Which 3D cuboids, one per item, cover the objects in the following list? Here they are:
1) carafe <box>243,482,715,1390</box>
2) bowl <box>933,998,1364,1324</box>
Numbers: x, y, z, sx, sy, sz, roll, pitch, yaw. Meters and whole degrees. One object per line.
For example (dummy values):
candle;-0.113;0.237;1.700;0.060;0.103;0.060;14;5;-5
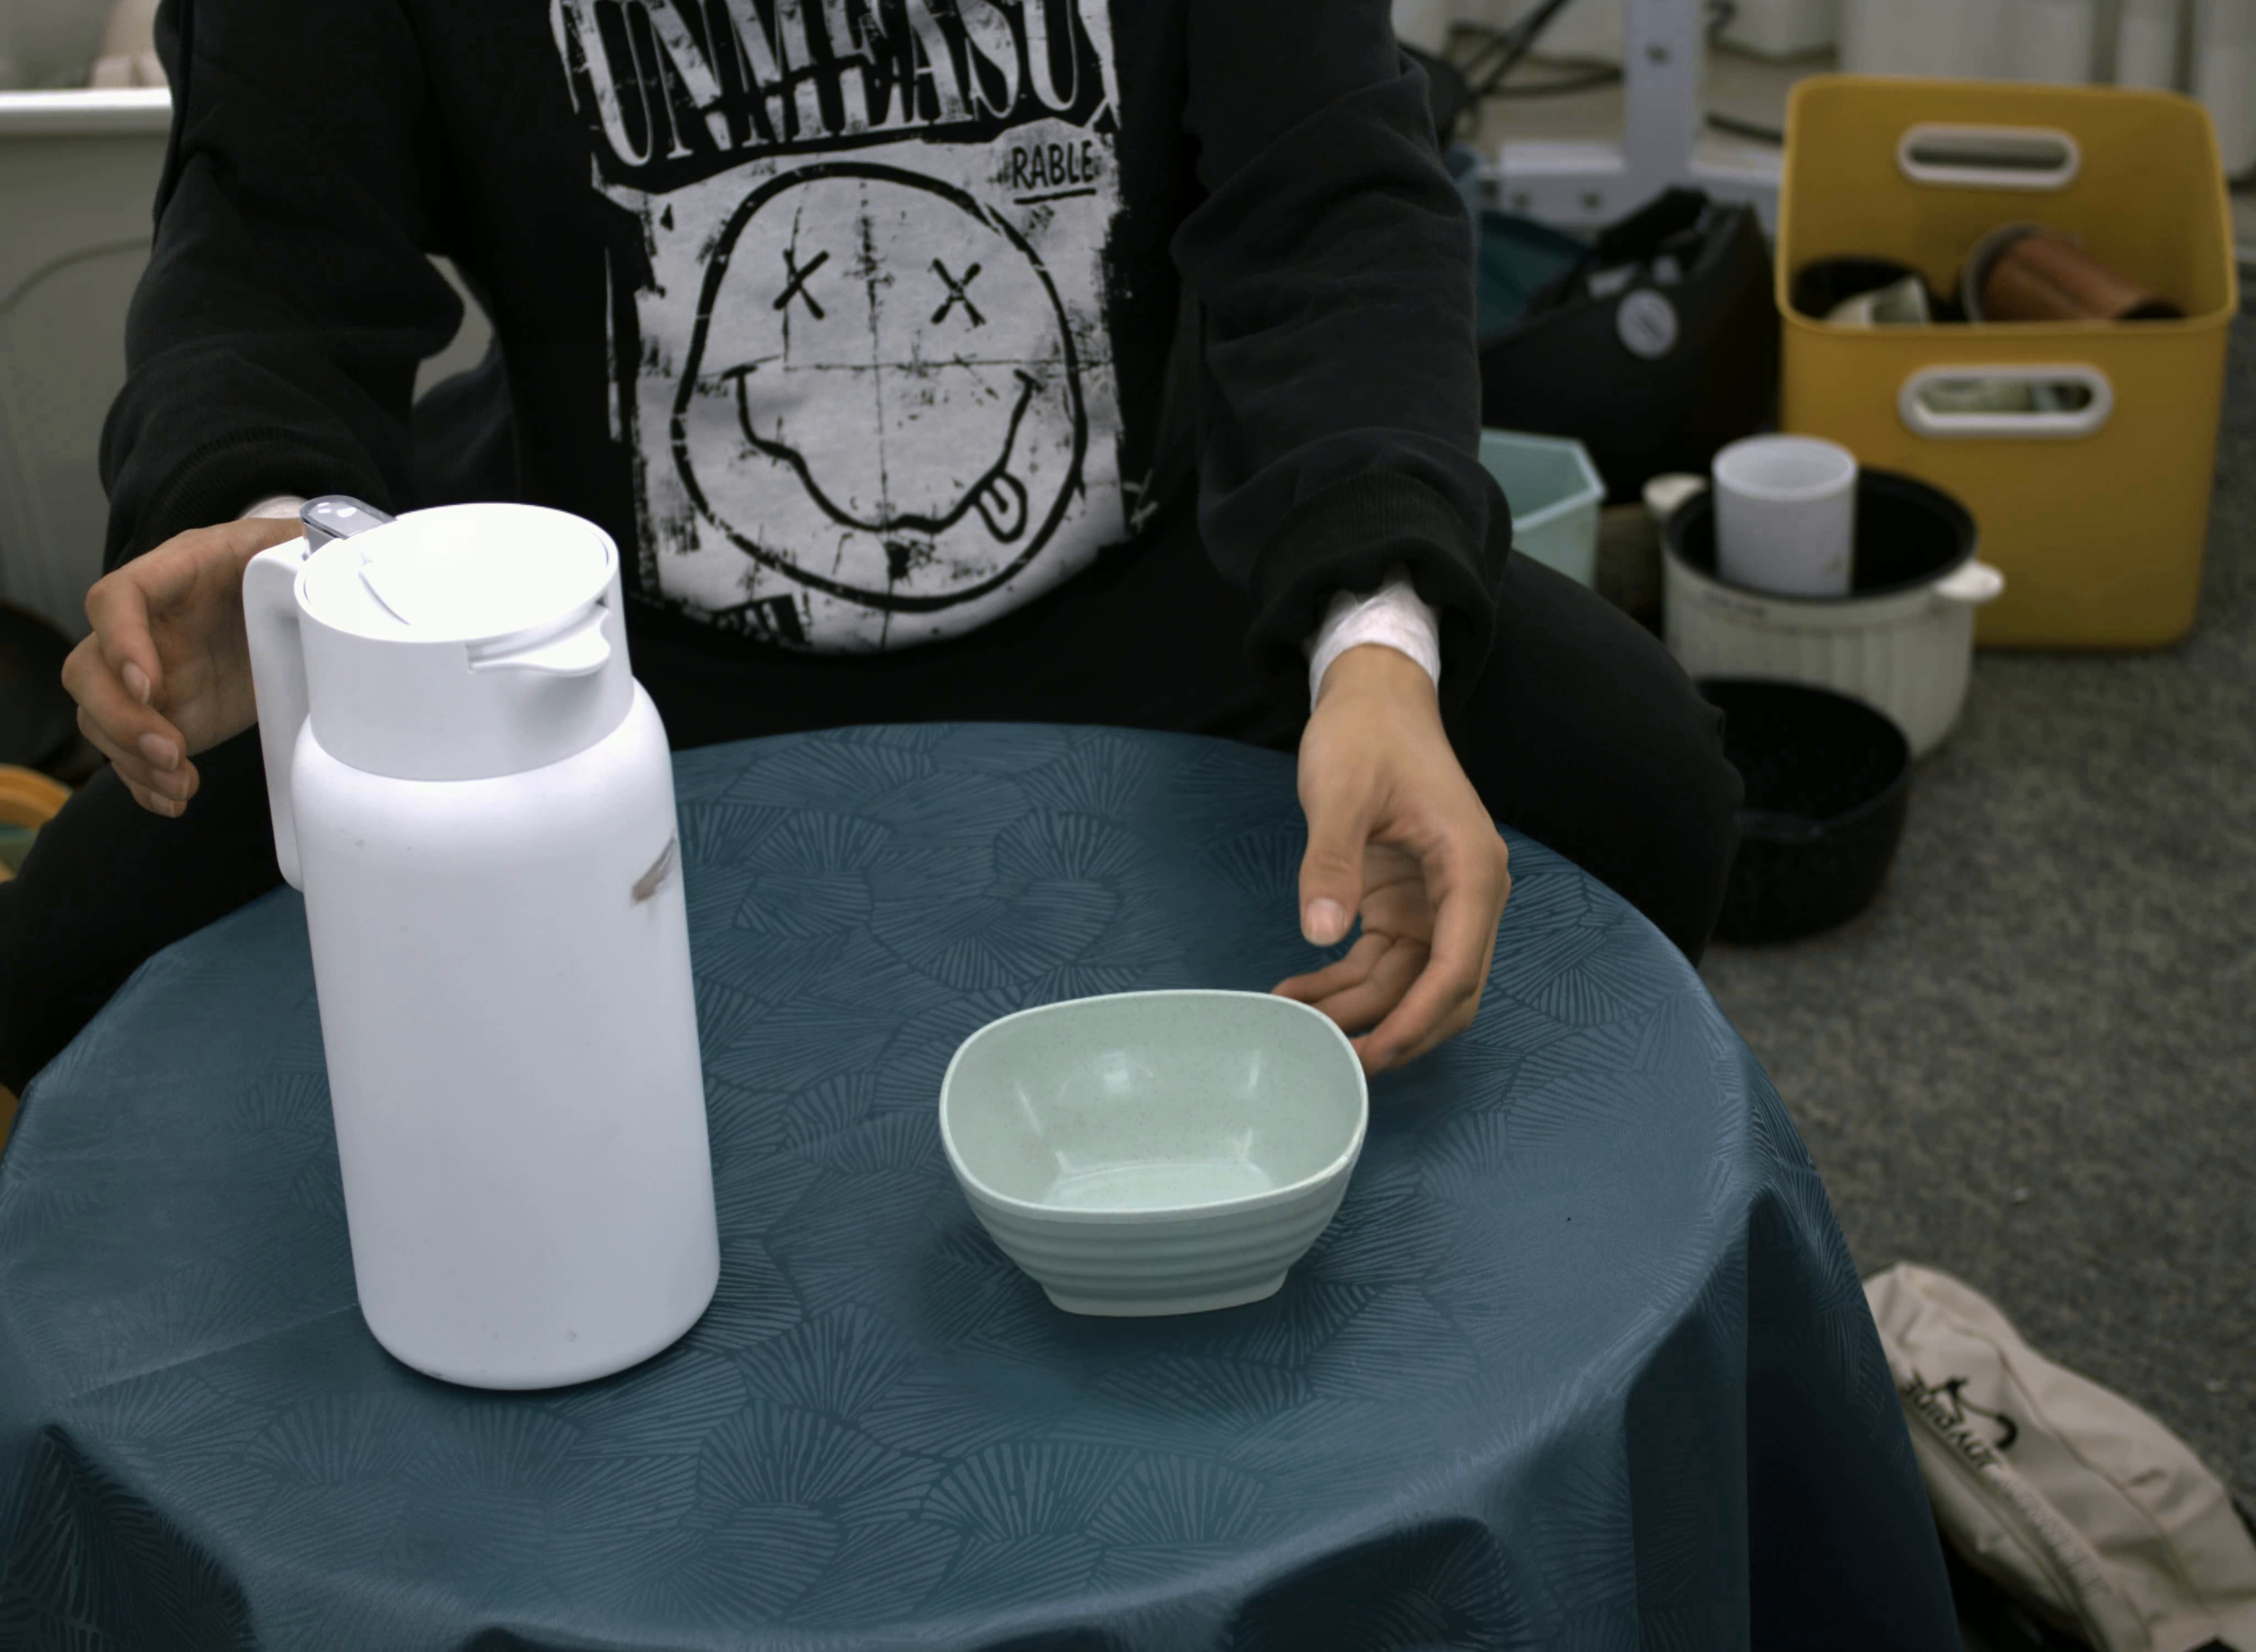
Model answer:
carafe;-0.209;0.032;1.766;0.125;0.266;0.172;-27;35;-36
bowl;0.008;0.114;1.816;0.151;0.058;0.154;-2;27;1
